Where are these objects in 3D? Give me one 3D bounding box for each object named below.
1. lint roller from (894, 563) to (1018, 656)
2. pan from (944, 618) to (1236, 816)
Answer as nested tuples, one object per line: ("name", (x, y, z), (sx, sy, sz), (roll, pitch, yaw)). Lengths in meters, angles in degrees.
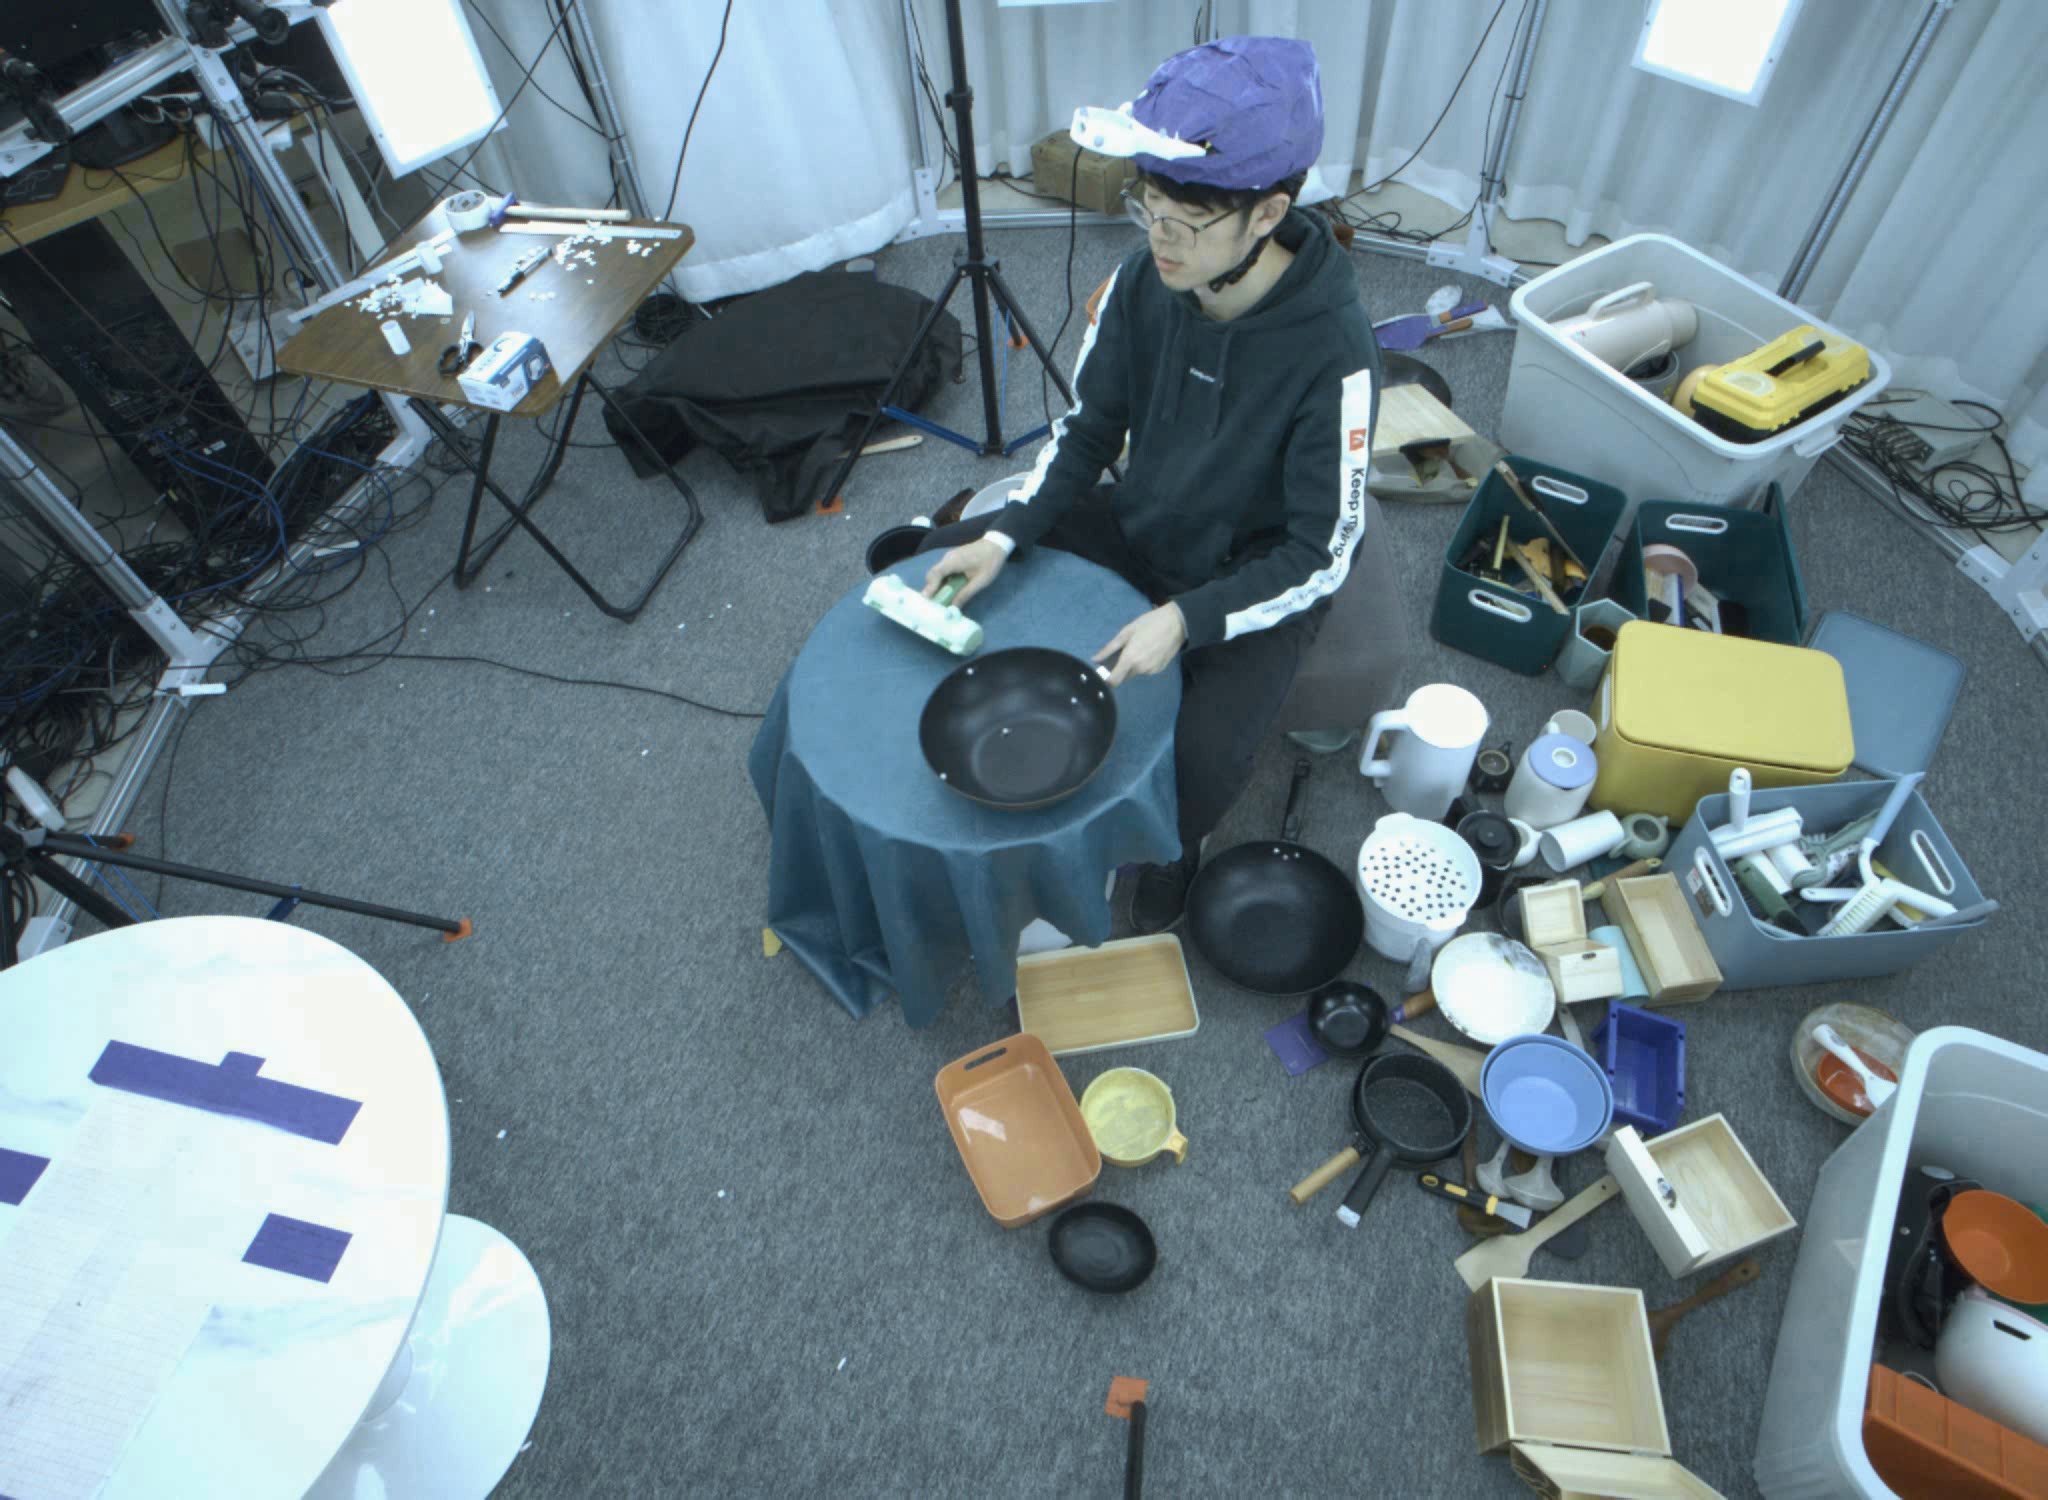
("lint roller", (-0.073, -0.248, 1.894), (0.195, 0.083, 0.184), (32, 65, 22))
("pan", (0.108, -0.057, 1.745), (0.467, 0.088, 0.282), (-31, 57, -17))
